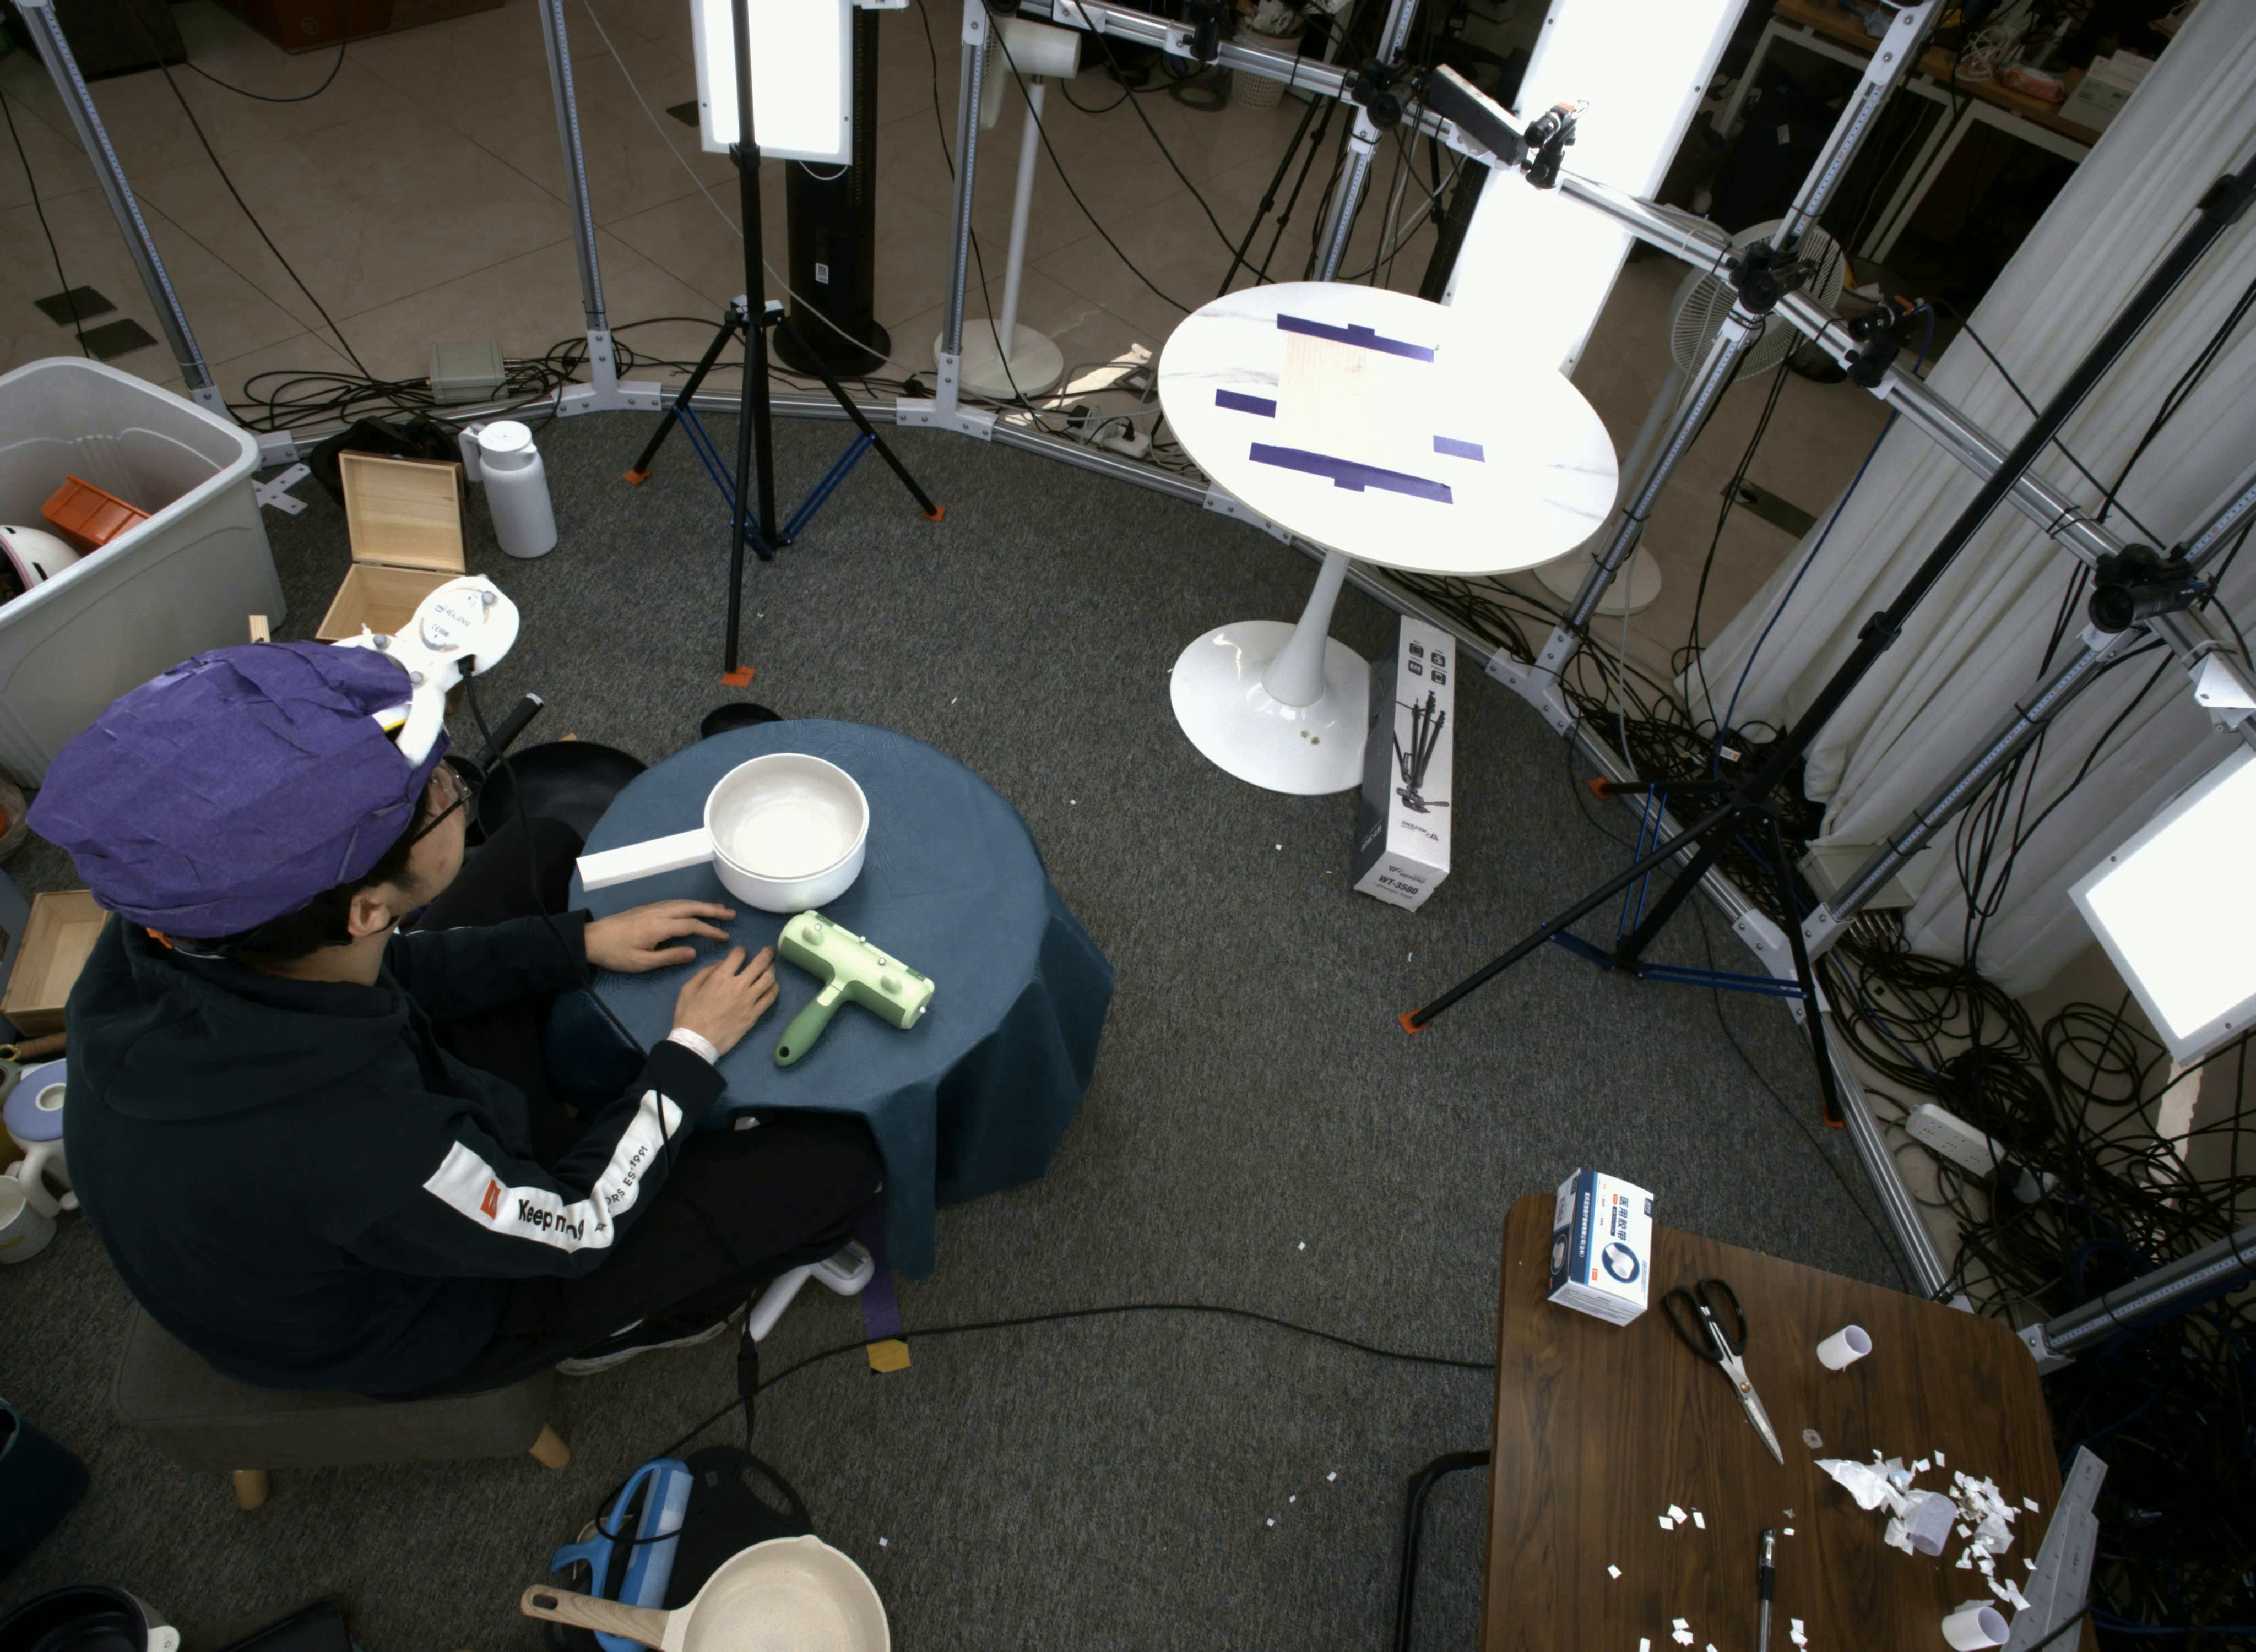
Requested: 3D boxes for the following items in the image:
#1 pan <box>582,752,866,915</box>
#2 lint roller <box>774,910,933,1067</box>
[{"bbox_3d":[-0.503,0.033,1.622,0.356,0.104,0.196,-16,60,-24],"label":"pan"},{"bbox_3d":[-0.360,0.202,1.549,0.195,0.084,0.182,30,47,8],"label":"lint roller"}]
